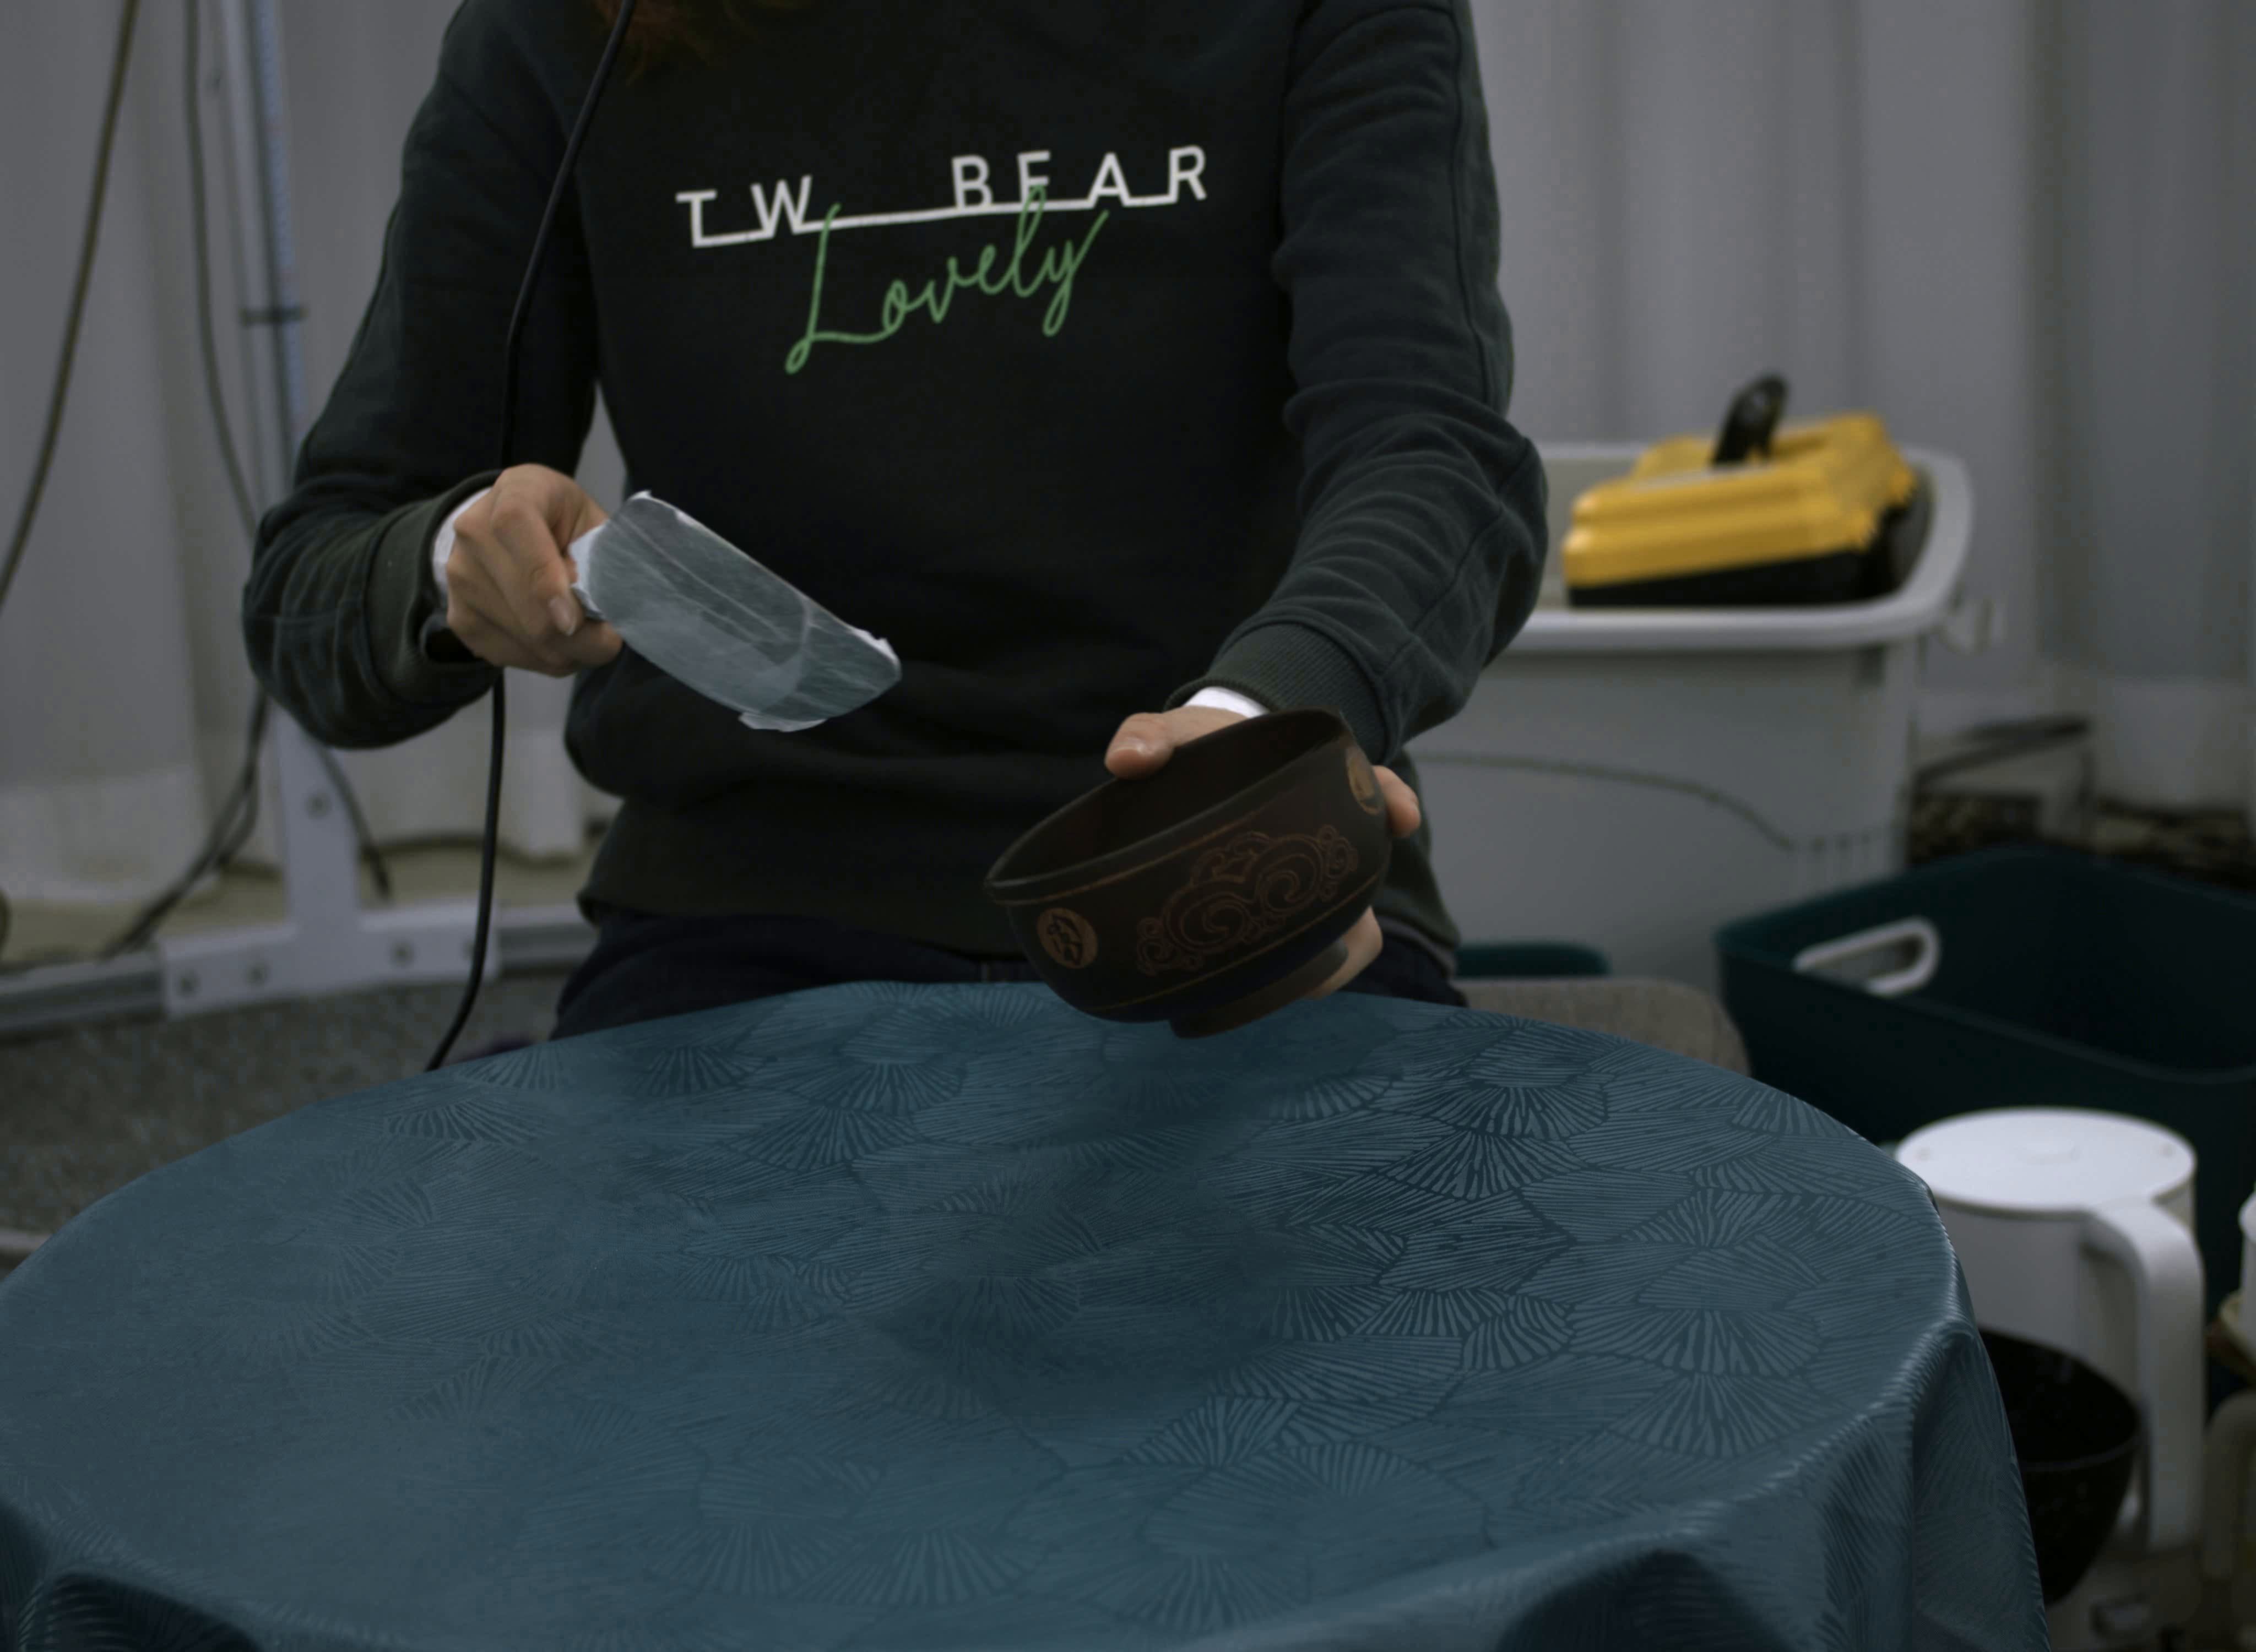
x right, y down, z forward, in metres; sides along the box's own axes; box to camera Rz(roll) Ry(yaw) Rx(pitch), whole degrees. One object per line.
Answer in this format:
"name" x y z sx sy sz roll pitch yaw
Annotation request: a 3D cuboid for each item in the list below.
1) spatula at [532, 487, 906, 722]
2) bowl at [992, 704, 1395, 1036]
"spatula" -0.154 -0.068 1.771 0.098 0.045 0.366 33 -5 -14
"bowl" 0.025 0.019 1.616 0.118 0.070 0.118 -23 9 3
